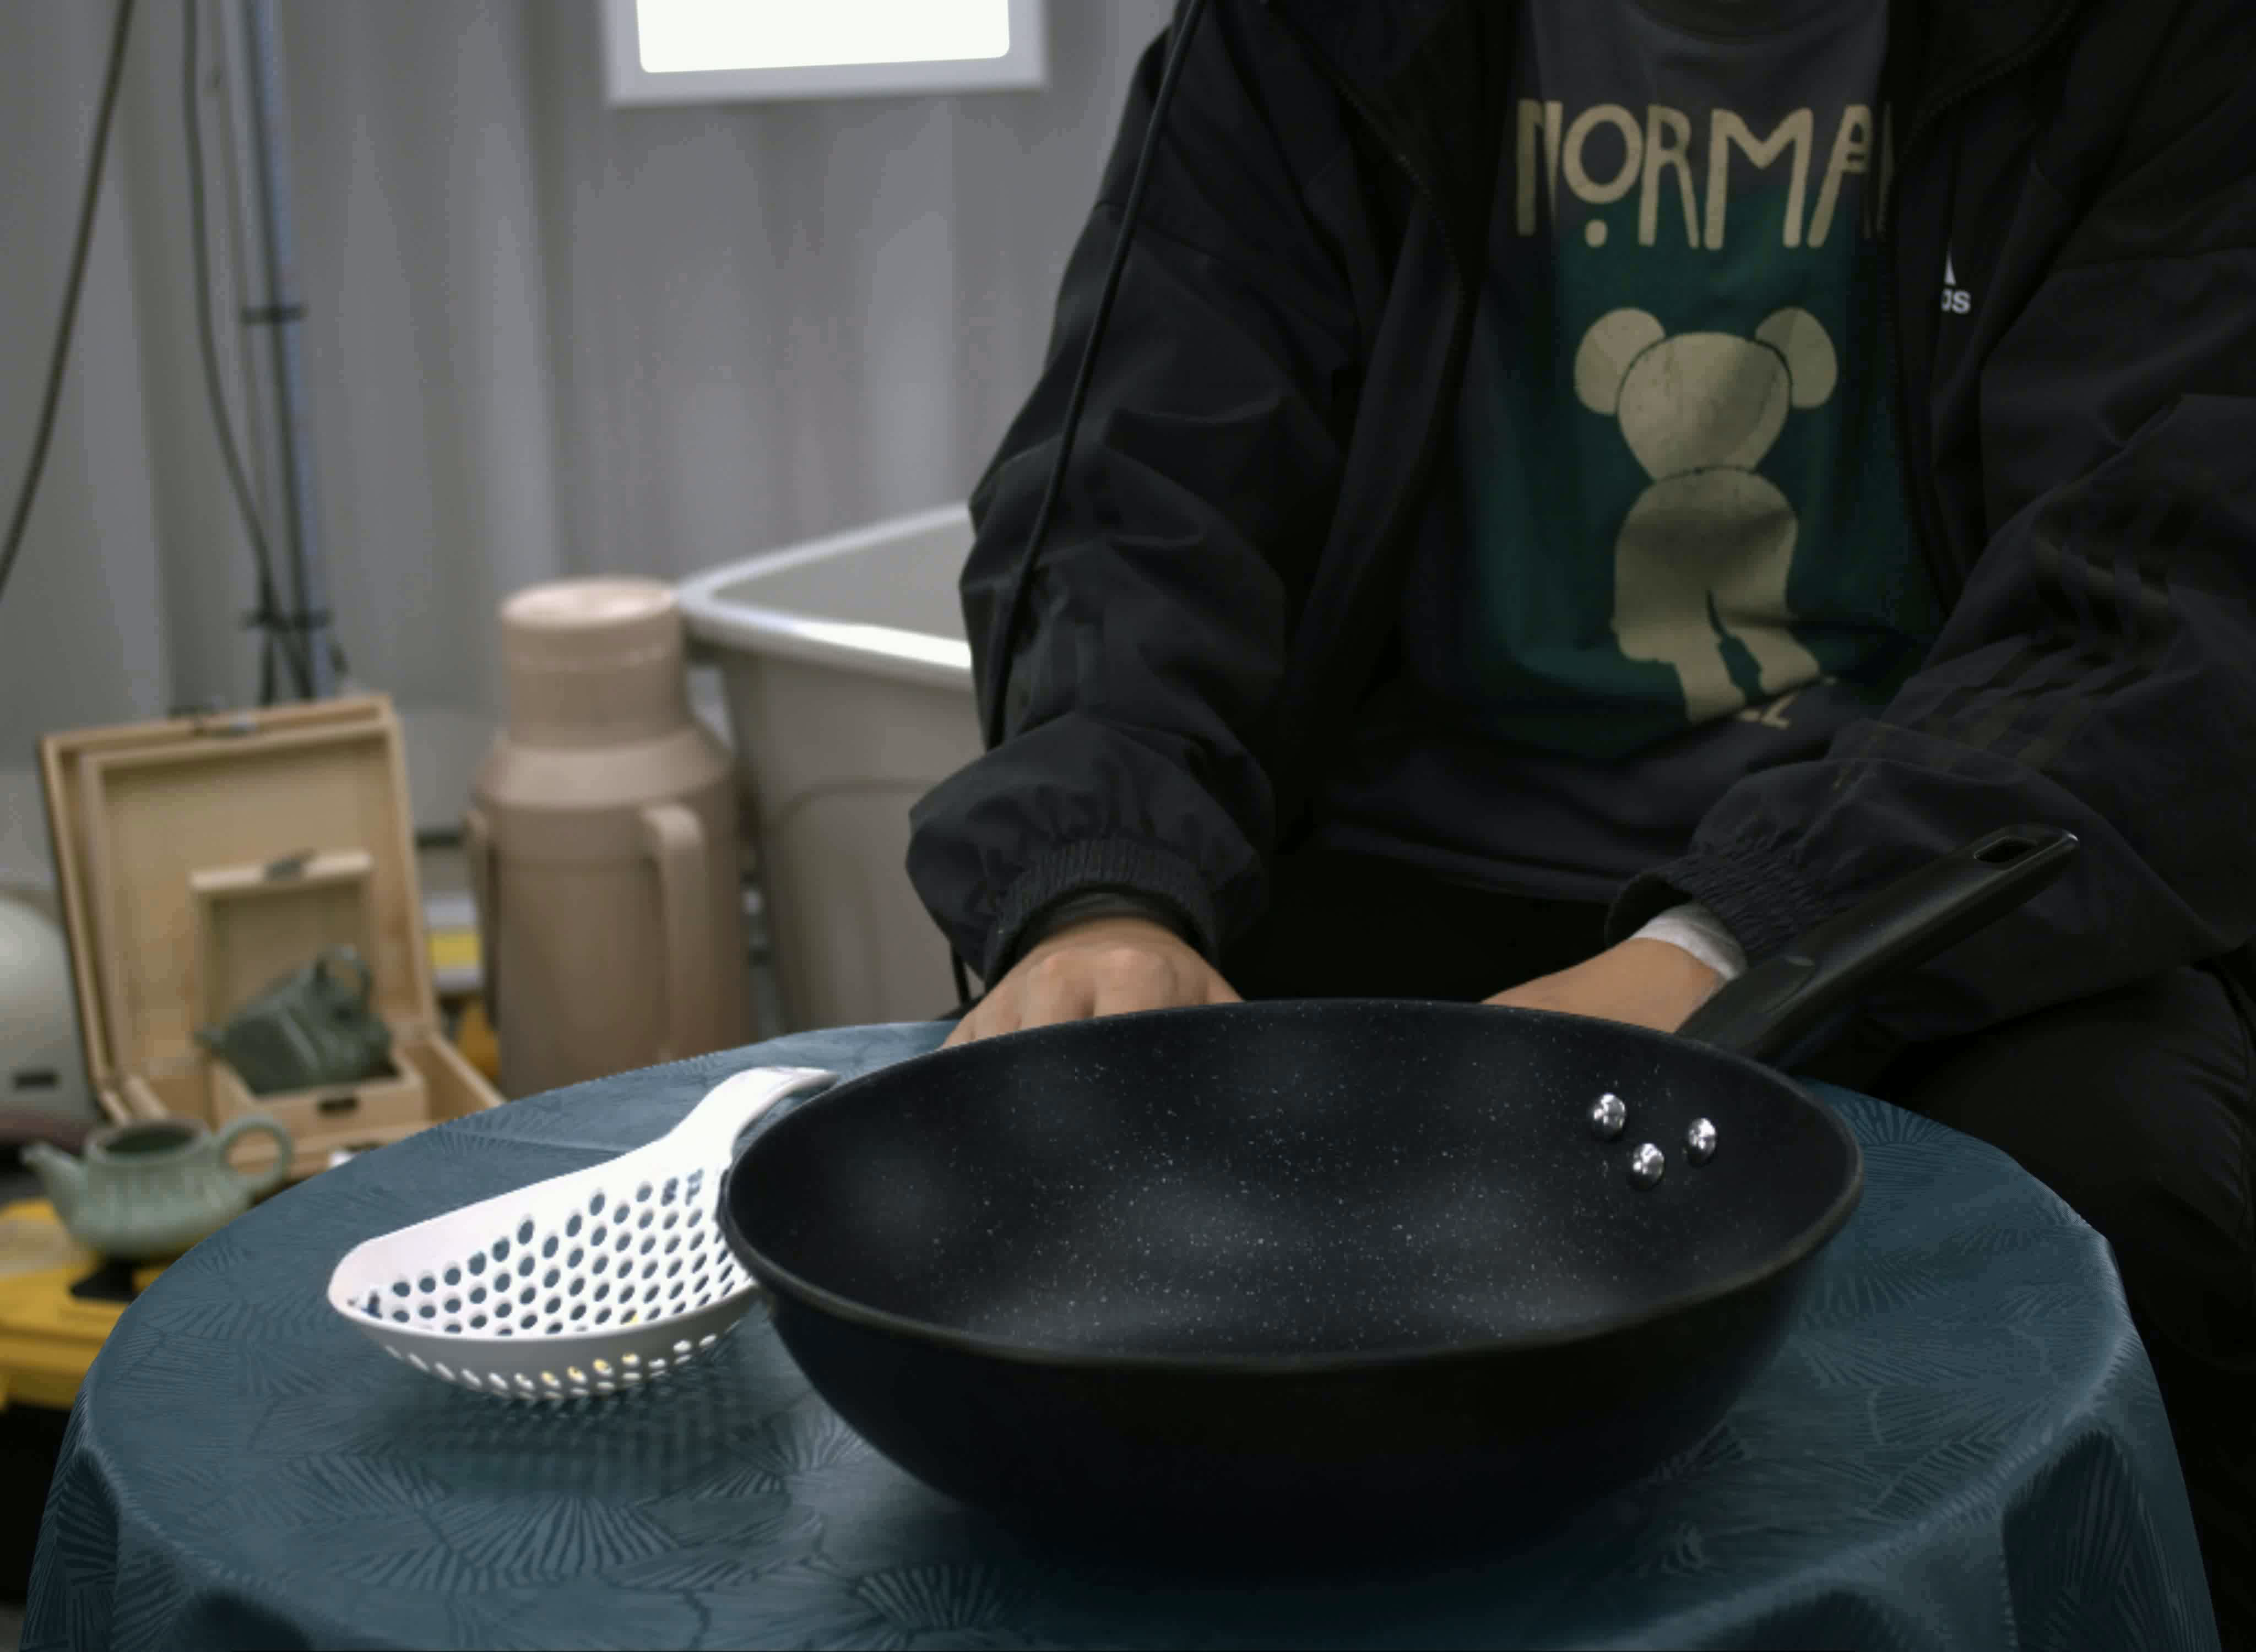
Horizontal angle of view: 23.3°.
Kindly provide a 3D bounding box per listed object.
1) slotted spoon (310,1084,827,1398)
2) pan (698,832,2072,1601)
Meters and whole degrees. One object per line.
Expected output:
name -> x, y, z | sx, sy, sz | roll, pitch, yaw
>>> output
slotted spoon -> -0.138, 0.113, 1.669 | 0.136, 0.050, 0.349 | -2, 15, 13
pan -> 0.103, 0.106, 1.524 | 0.476, 0.111, 0.312 | -16, 21, -39
